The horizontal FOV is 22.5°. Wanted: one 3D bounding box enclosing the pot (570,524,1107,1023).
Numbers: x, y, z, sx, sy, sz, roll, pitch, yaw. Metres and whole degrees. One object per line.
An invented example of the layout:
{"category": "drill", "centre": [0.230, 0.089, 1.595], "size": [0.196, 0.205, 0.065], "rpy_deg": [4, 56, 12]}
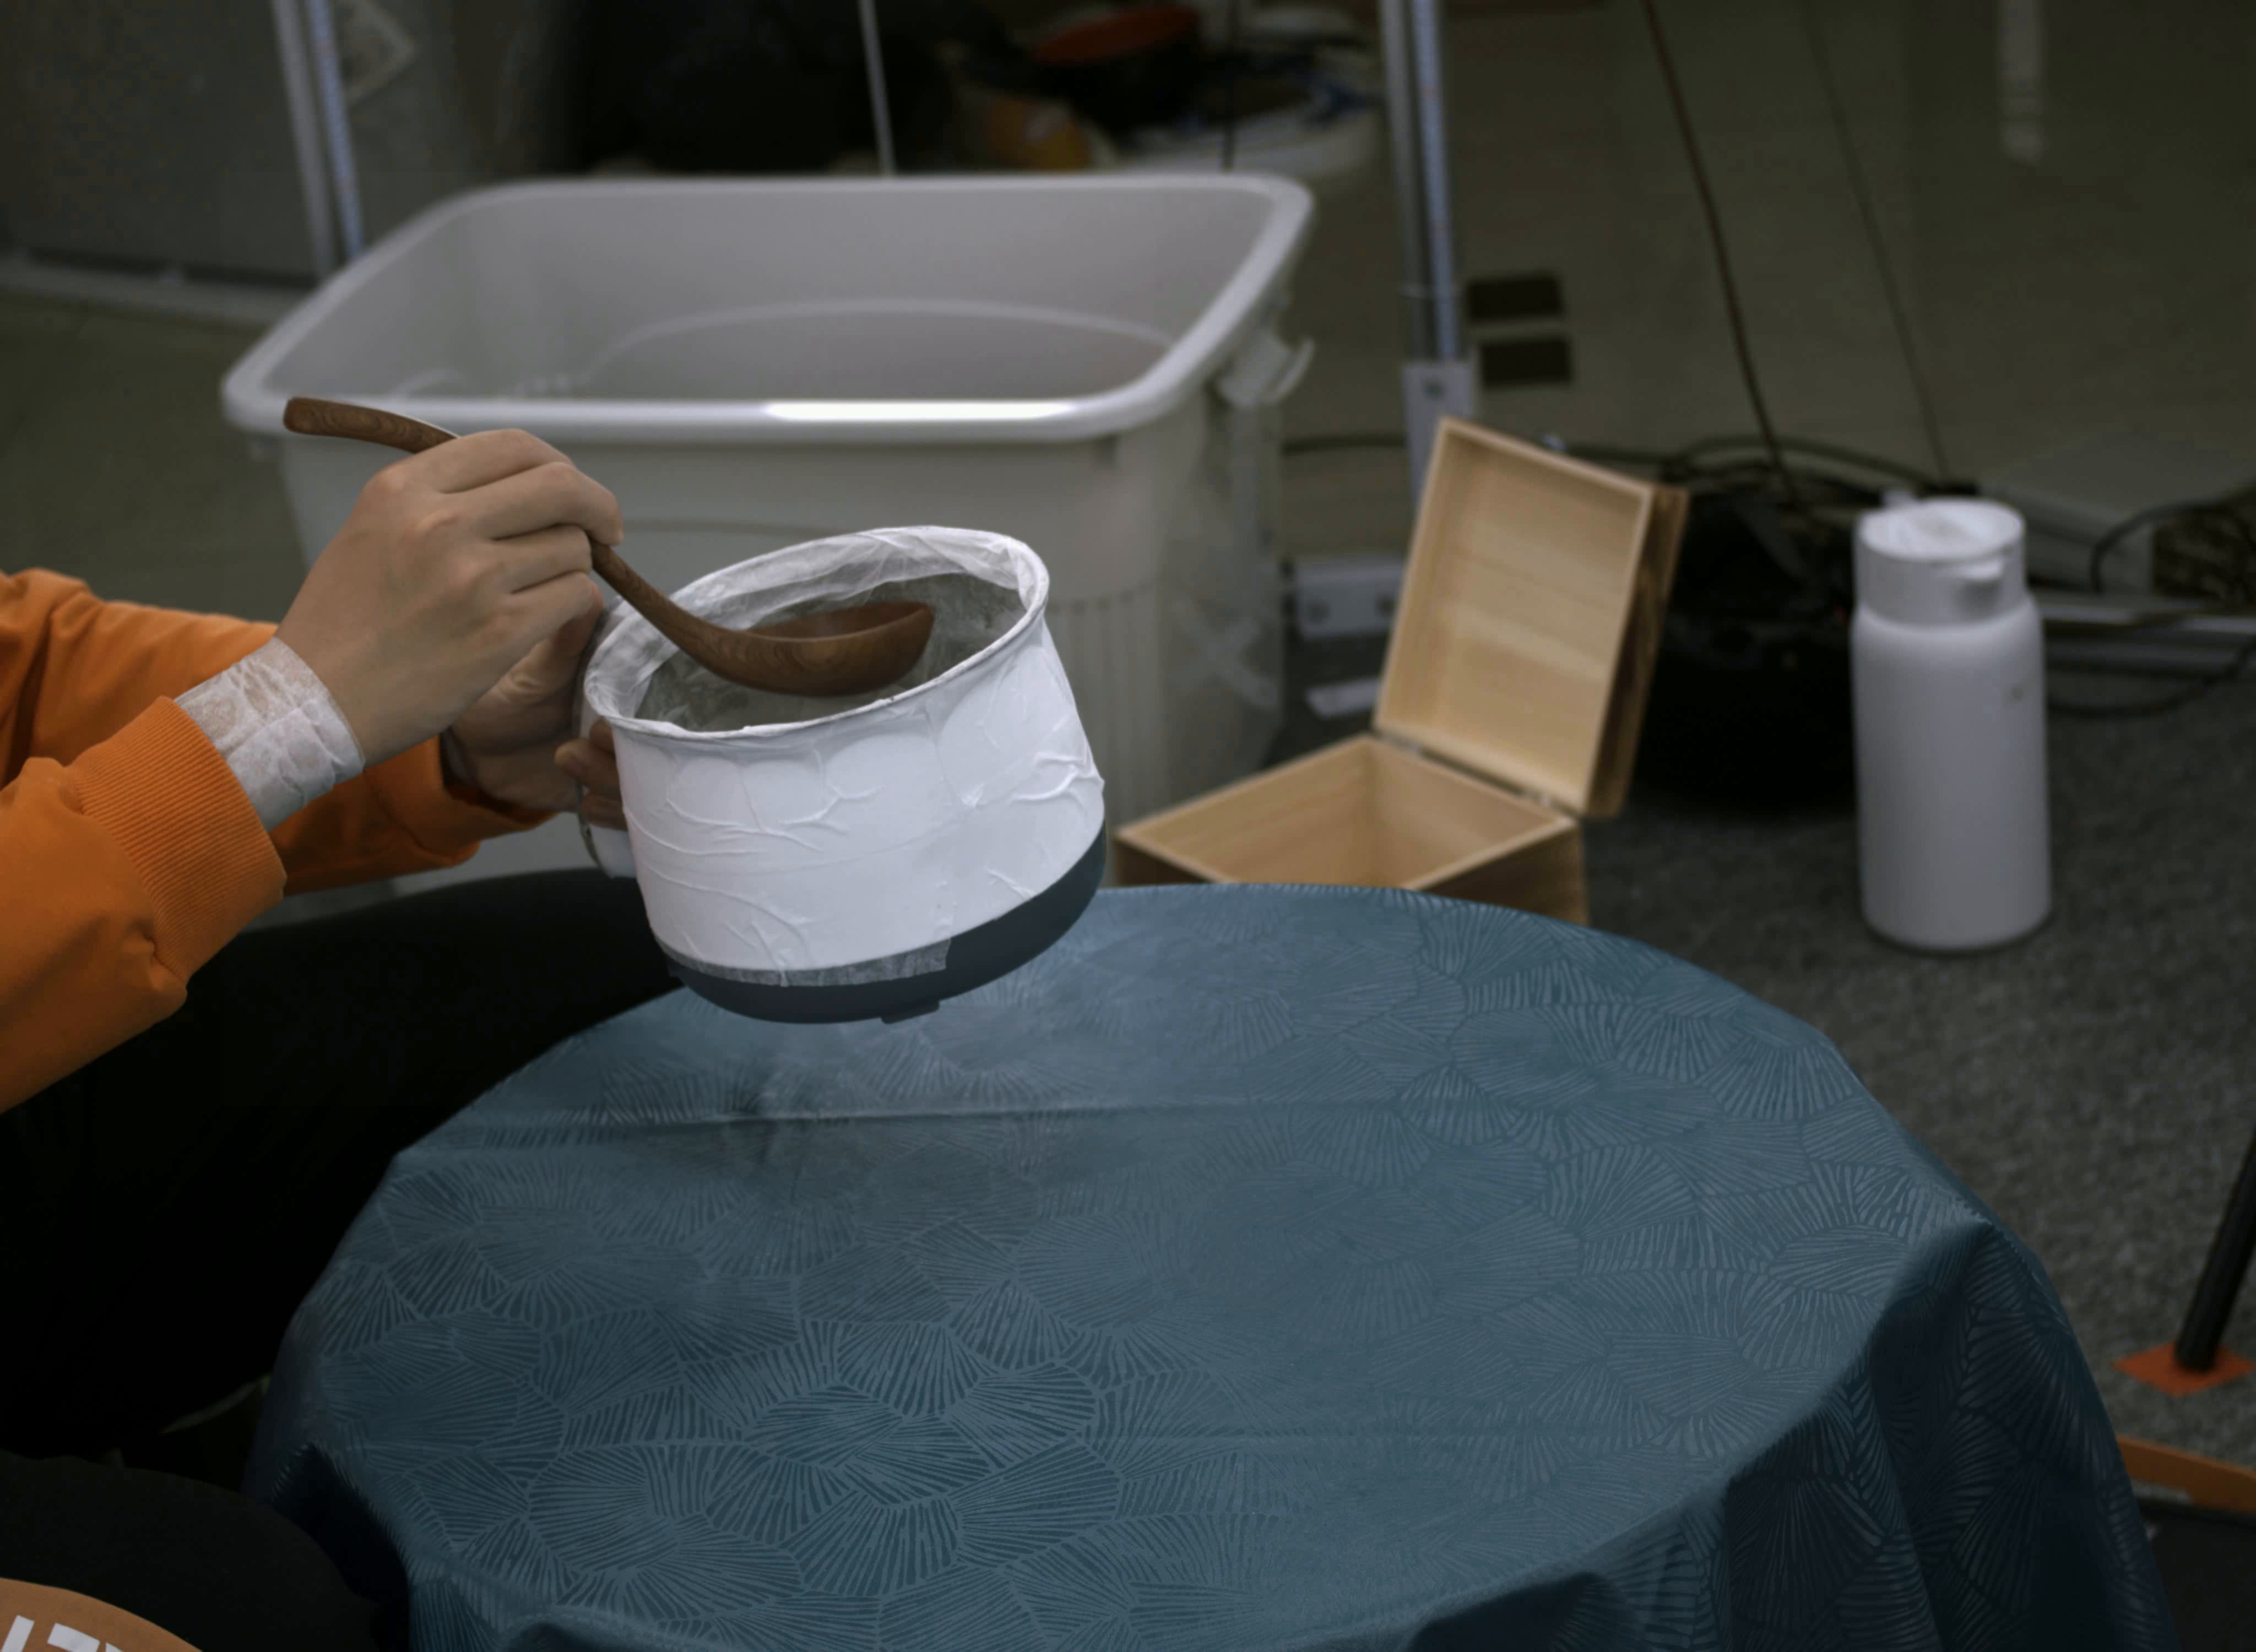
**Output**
{"category": "pot", "centre": [-0.123, -0.021, 2.127], "size": [0.232, 0.139, 0.176], "rpy_deg": [8, 32, 37]}

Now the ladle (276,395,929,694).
{"category": "ladle", "centre": [-0.191, -0.115, 2.088], "size": [0.262, 0.065, 0.076], "rpy_deg": [30, -9, -23]}
